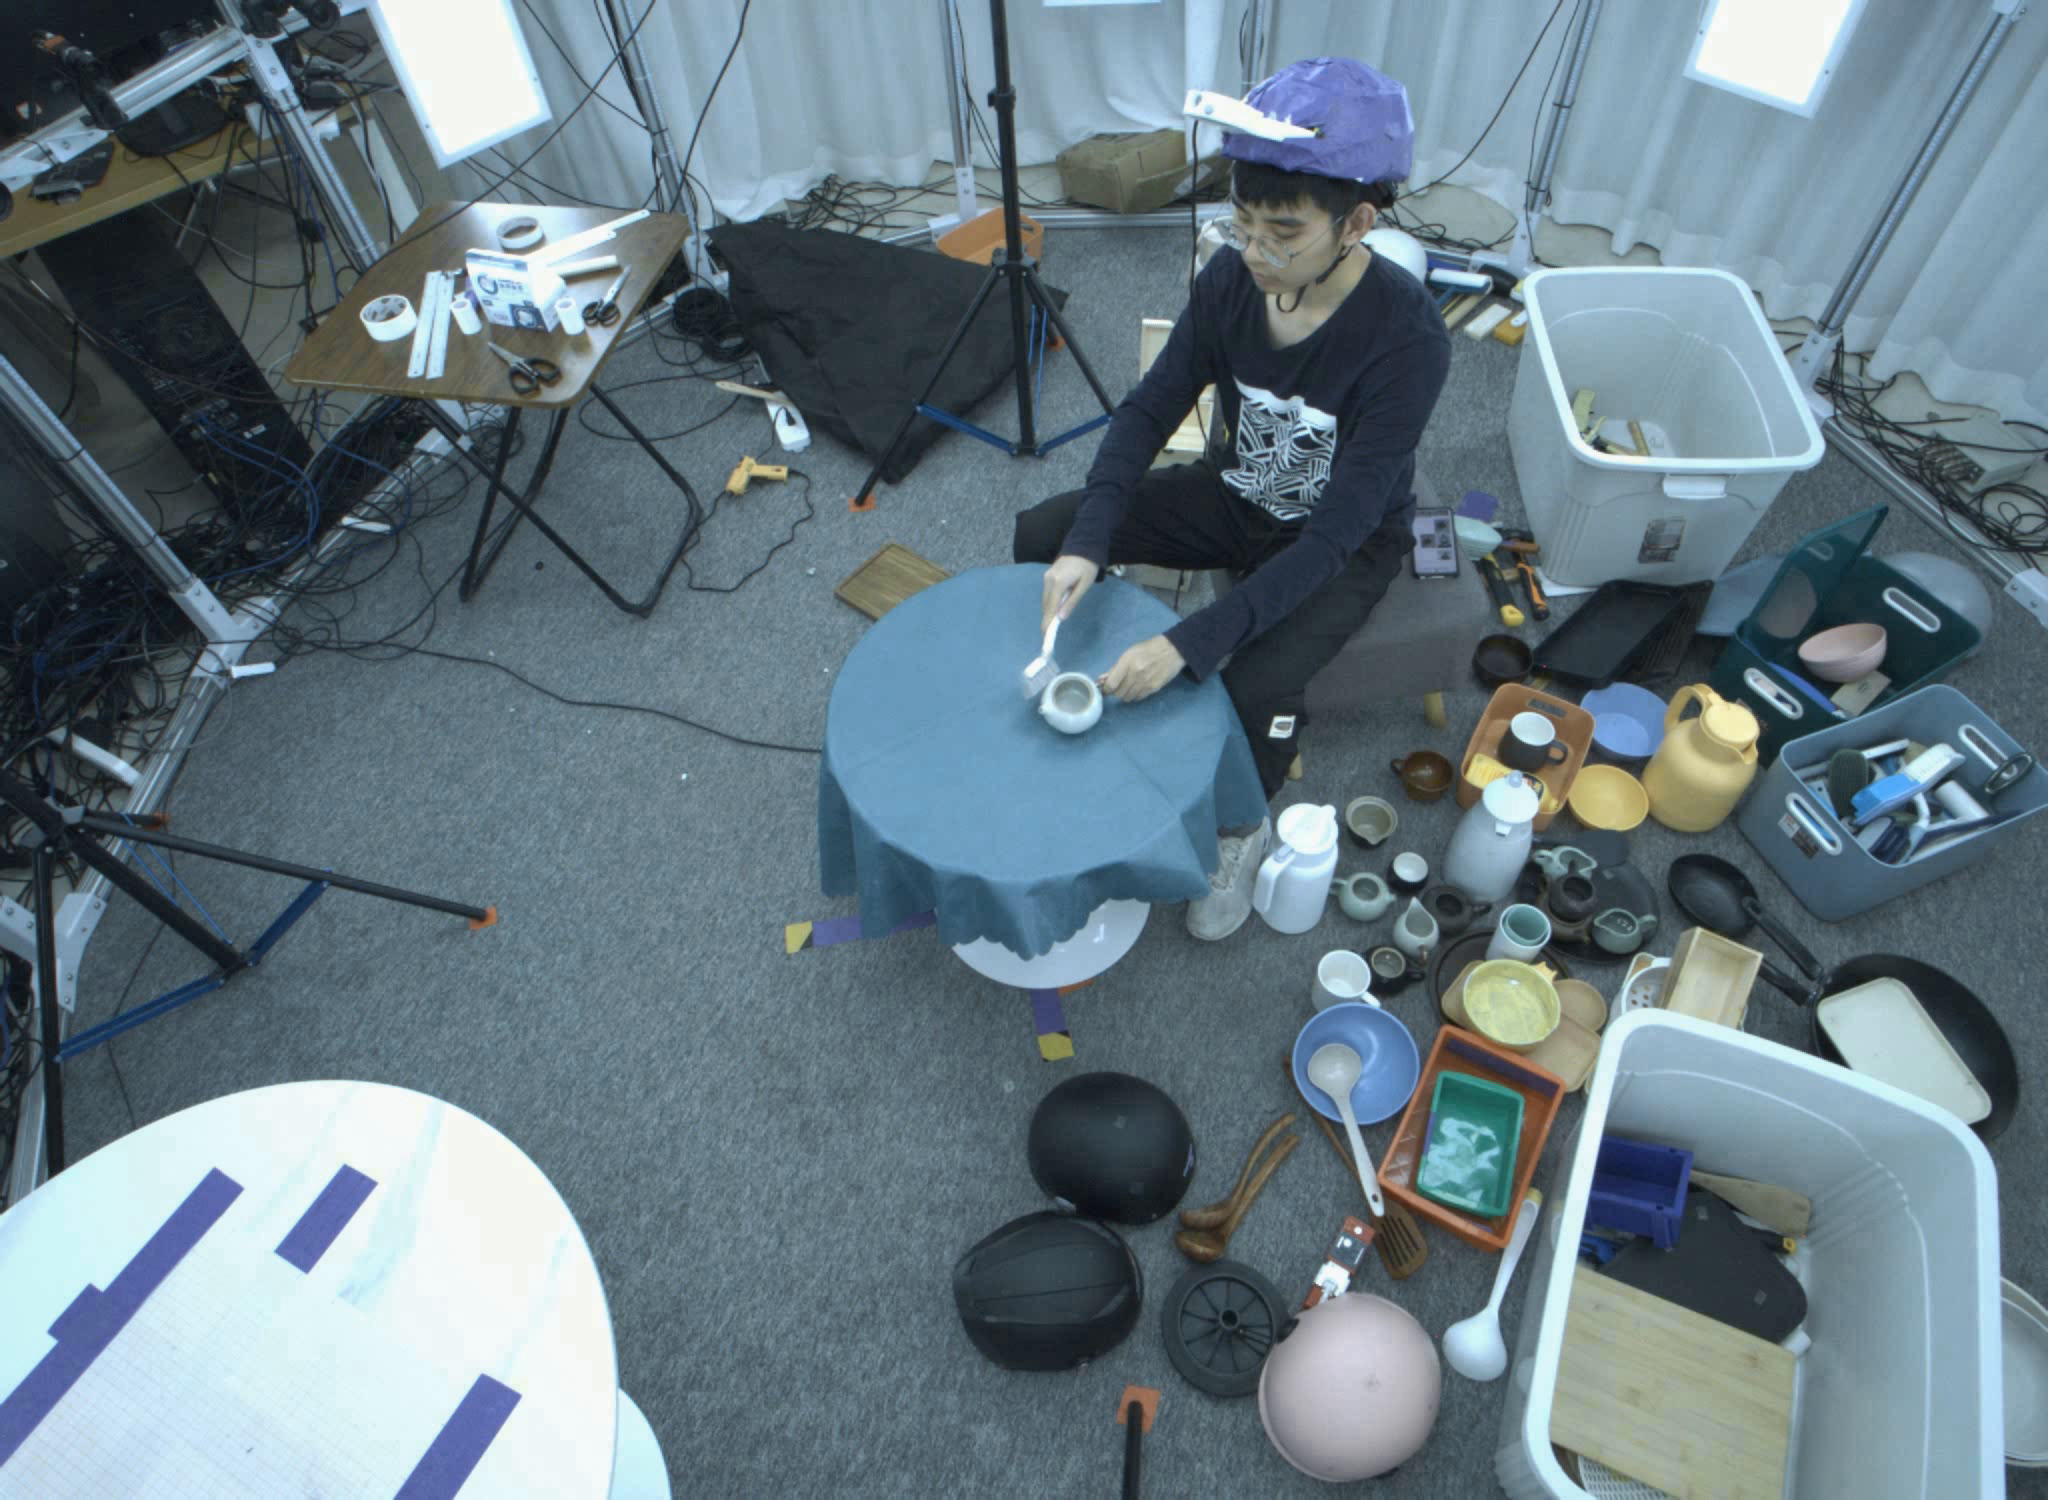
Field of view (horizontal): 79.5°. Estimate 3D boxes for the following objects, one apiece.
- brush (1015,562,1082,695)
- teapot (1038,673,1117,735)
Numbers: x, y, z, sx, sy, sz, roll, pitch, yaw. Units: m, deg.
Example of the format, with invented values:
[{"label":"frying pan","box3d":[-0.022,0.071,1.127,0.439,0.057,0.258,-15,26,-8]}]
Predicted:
[{"label":"brush","box3d":[0.053,-0.182,1.830,0.051,0.034,0.243,34,60,-13]},{"label":"teapot","box3d":[0.078,-0.071,1.785,0.129,0.060,0.090,-27,69,-10]}]
